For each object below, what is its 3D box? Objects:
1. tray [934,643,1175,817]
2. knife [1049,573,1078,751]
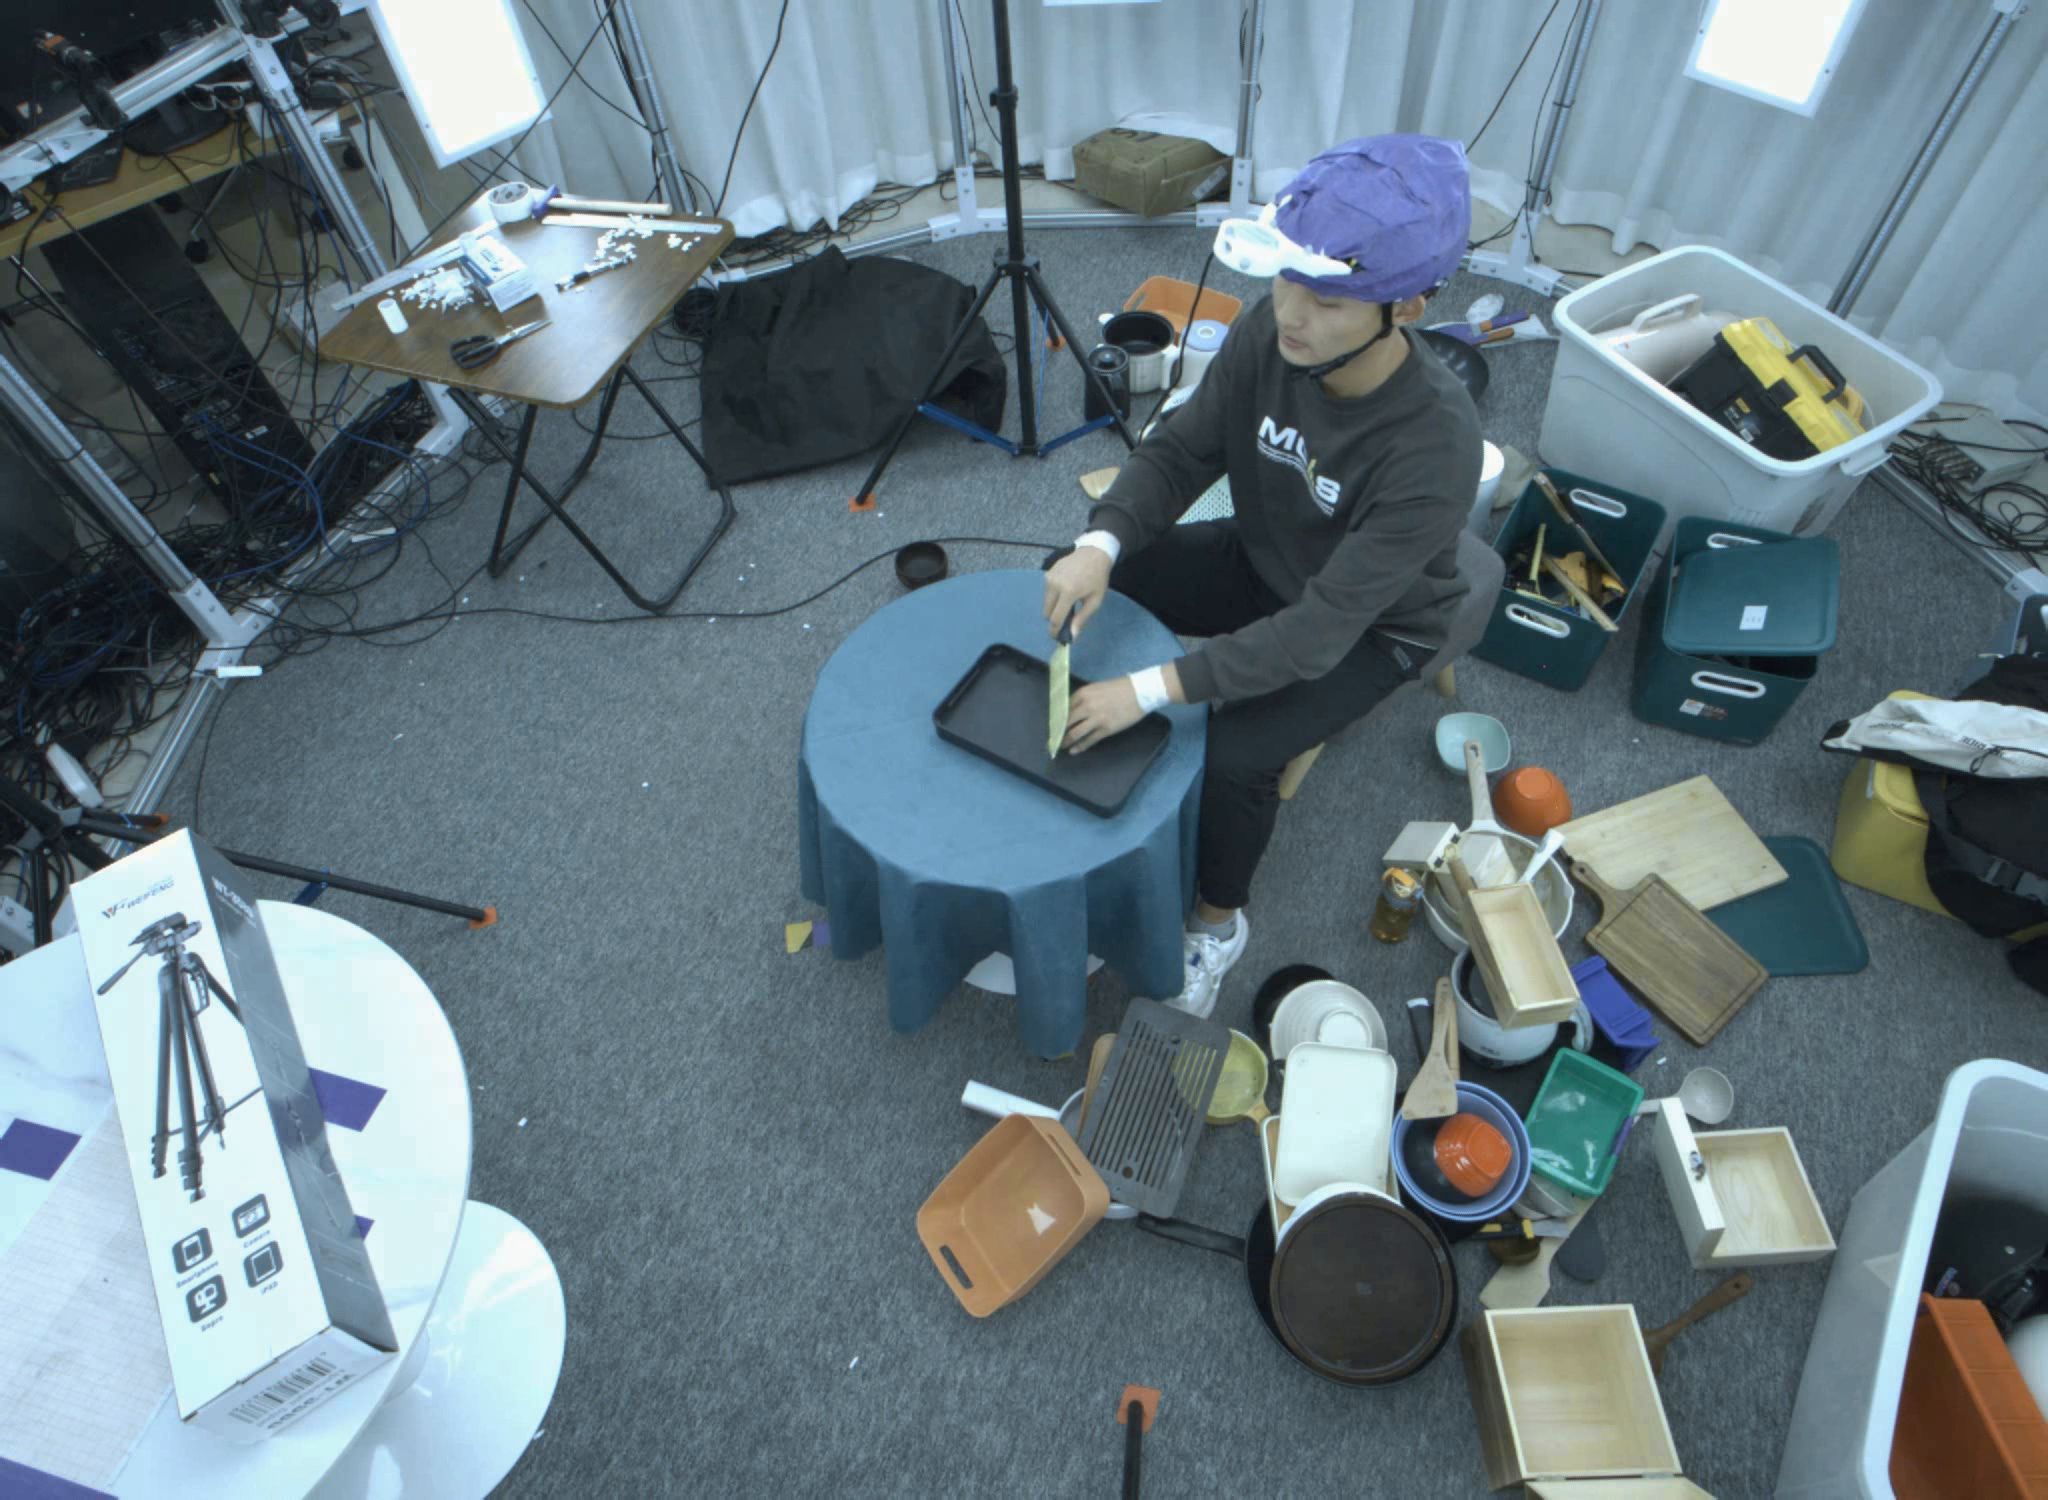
[{"bbox_3d":[0.044,-0.033,1.794,0.313,0.037,0.185,25,59,18],"label":"tray"},{"bbox_3d":[0.054,-0.129,1.787,0.027,0.080,0.287,13,64,-18],"label":"knife"}]
